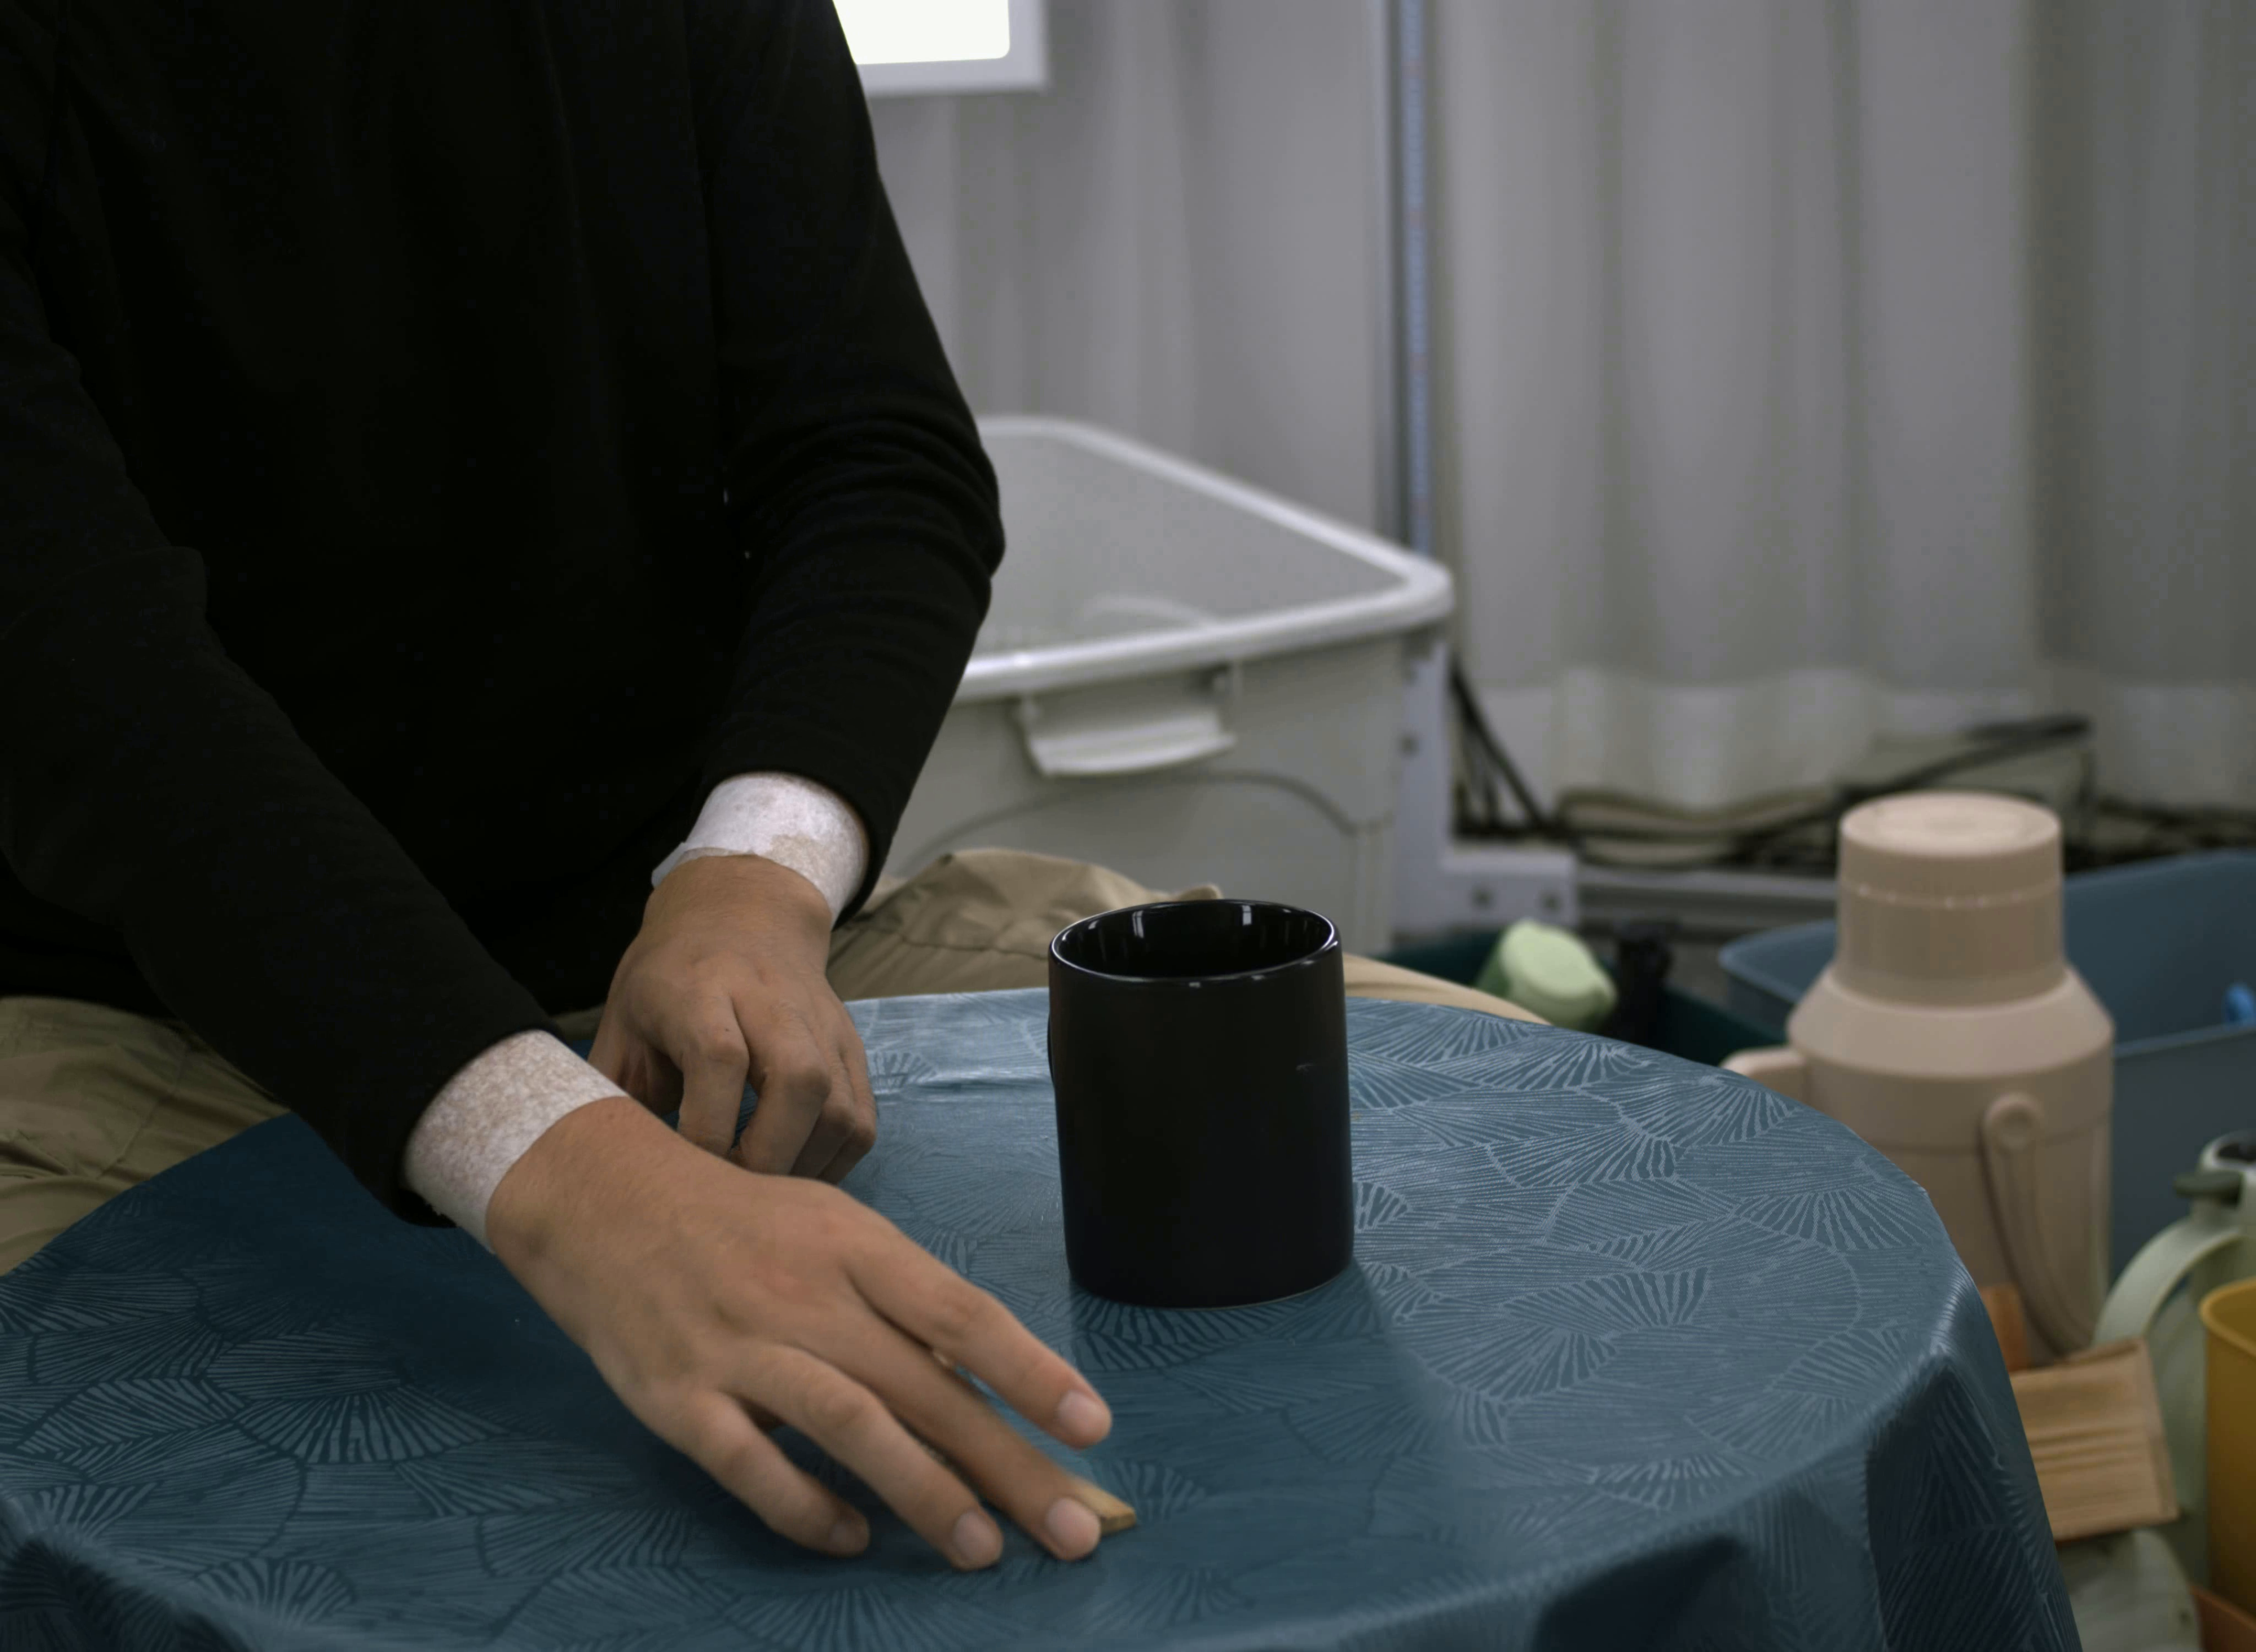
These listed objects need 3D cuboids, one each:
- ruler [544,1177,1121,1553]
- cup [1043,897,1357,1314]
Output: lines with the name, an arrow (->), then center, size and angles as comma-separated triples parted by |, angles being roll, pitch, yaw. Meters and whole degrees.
ruler -> -0.093, 0.150, 1.582 | 0.027, 0.022, 0.334 | -6, 15, -28
cup -> 0.013, 0.079, 1.648 | 0.088, 0.105, 0.124 | -13, 16, -28
